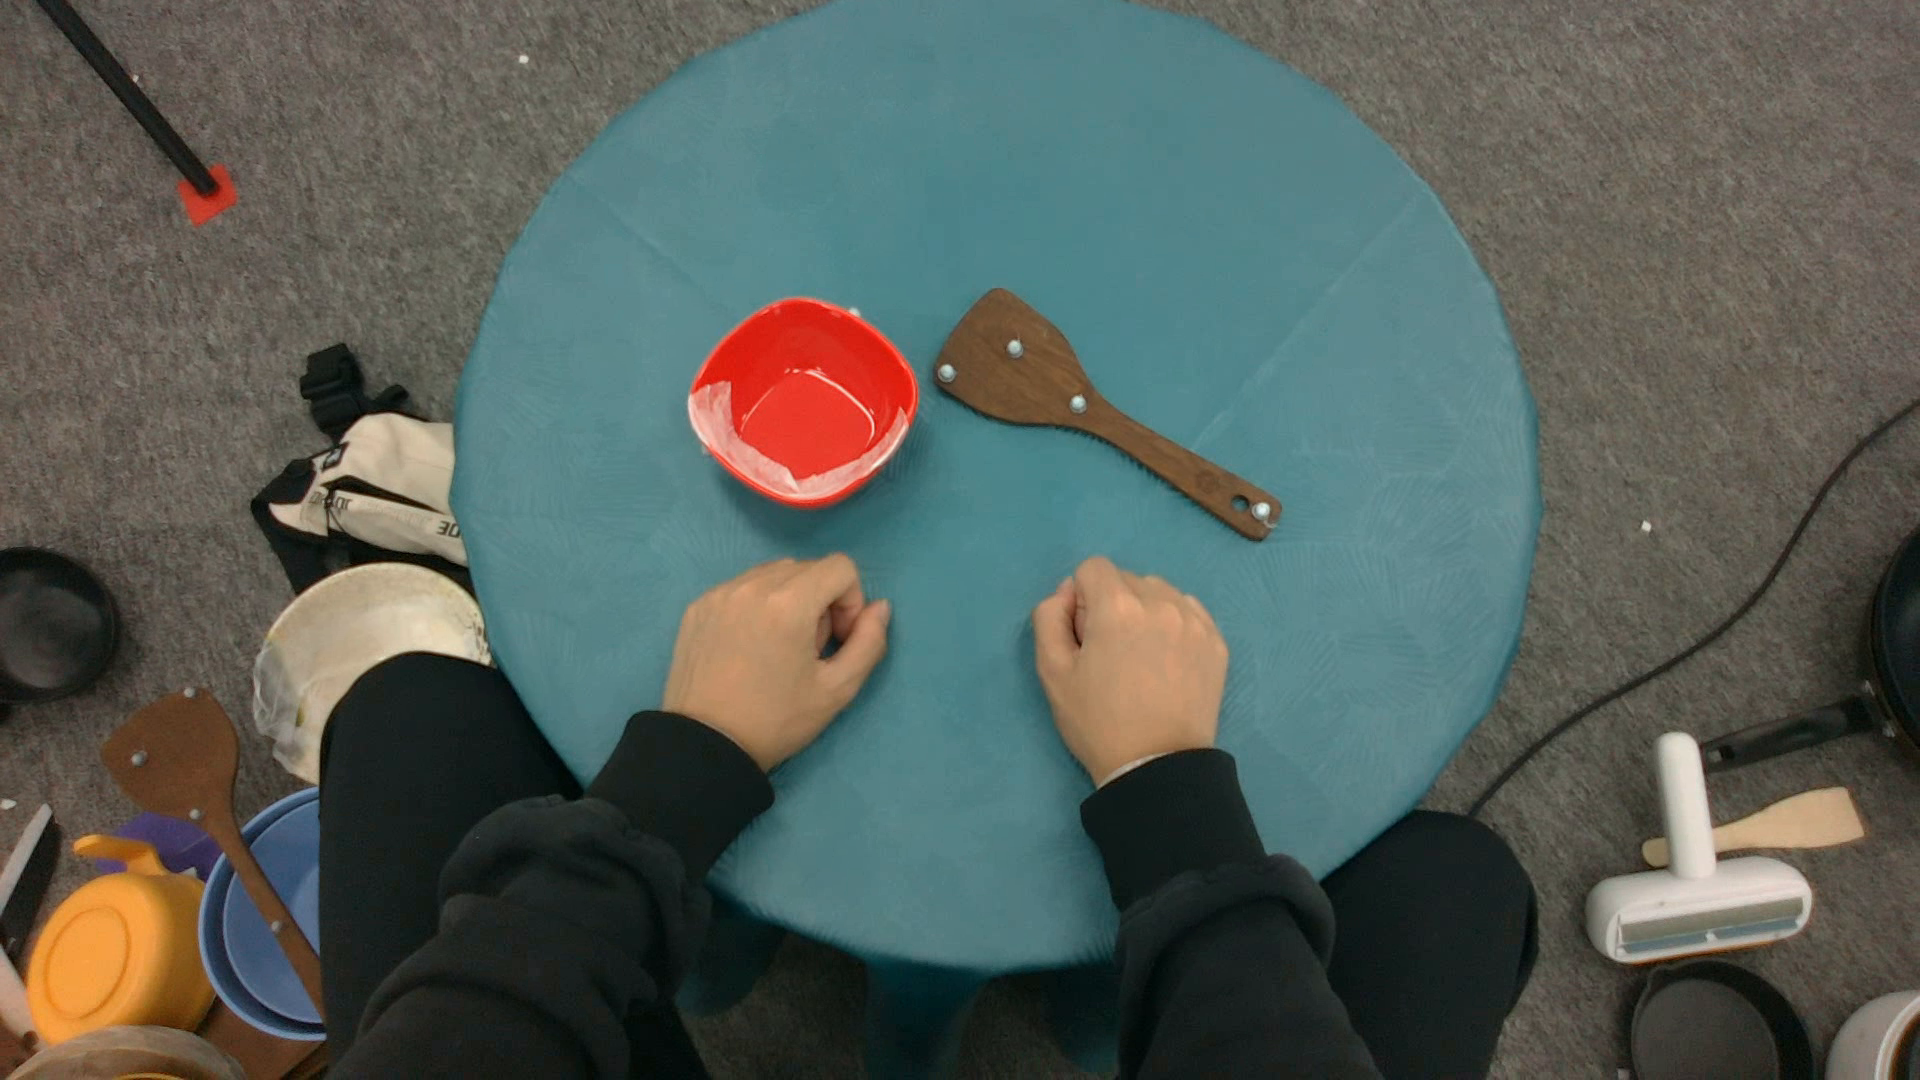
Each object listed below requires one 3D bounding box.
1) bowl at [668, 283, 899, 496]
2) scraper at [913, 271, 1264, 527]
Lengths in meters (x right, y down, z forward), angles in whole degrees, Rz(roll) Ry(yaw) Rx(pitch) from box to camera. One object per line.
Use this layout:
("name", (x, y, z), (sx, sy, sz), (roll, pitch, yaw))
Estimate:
("bowl", (-0.092, -0.073, 0.734), (0.119, 0.051, 0.119), (1, 70, -4))
("scraper", (0.074, -0.071, 0.765), (0.211, 0.011, 0.076), (33, 73, 7))
